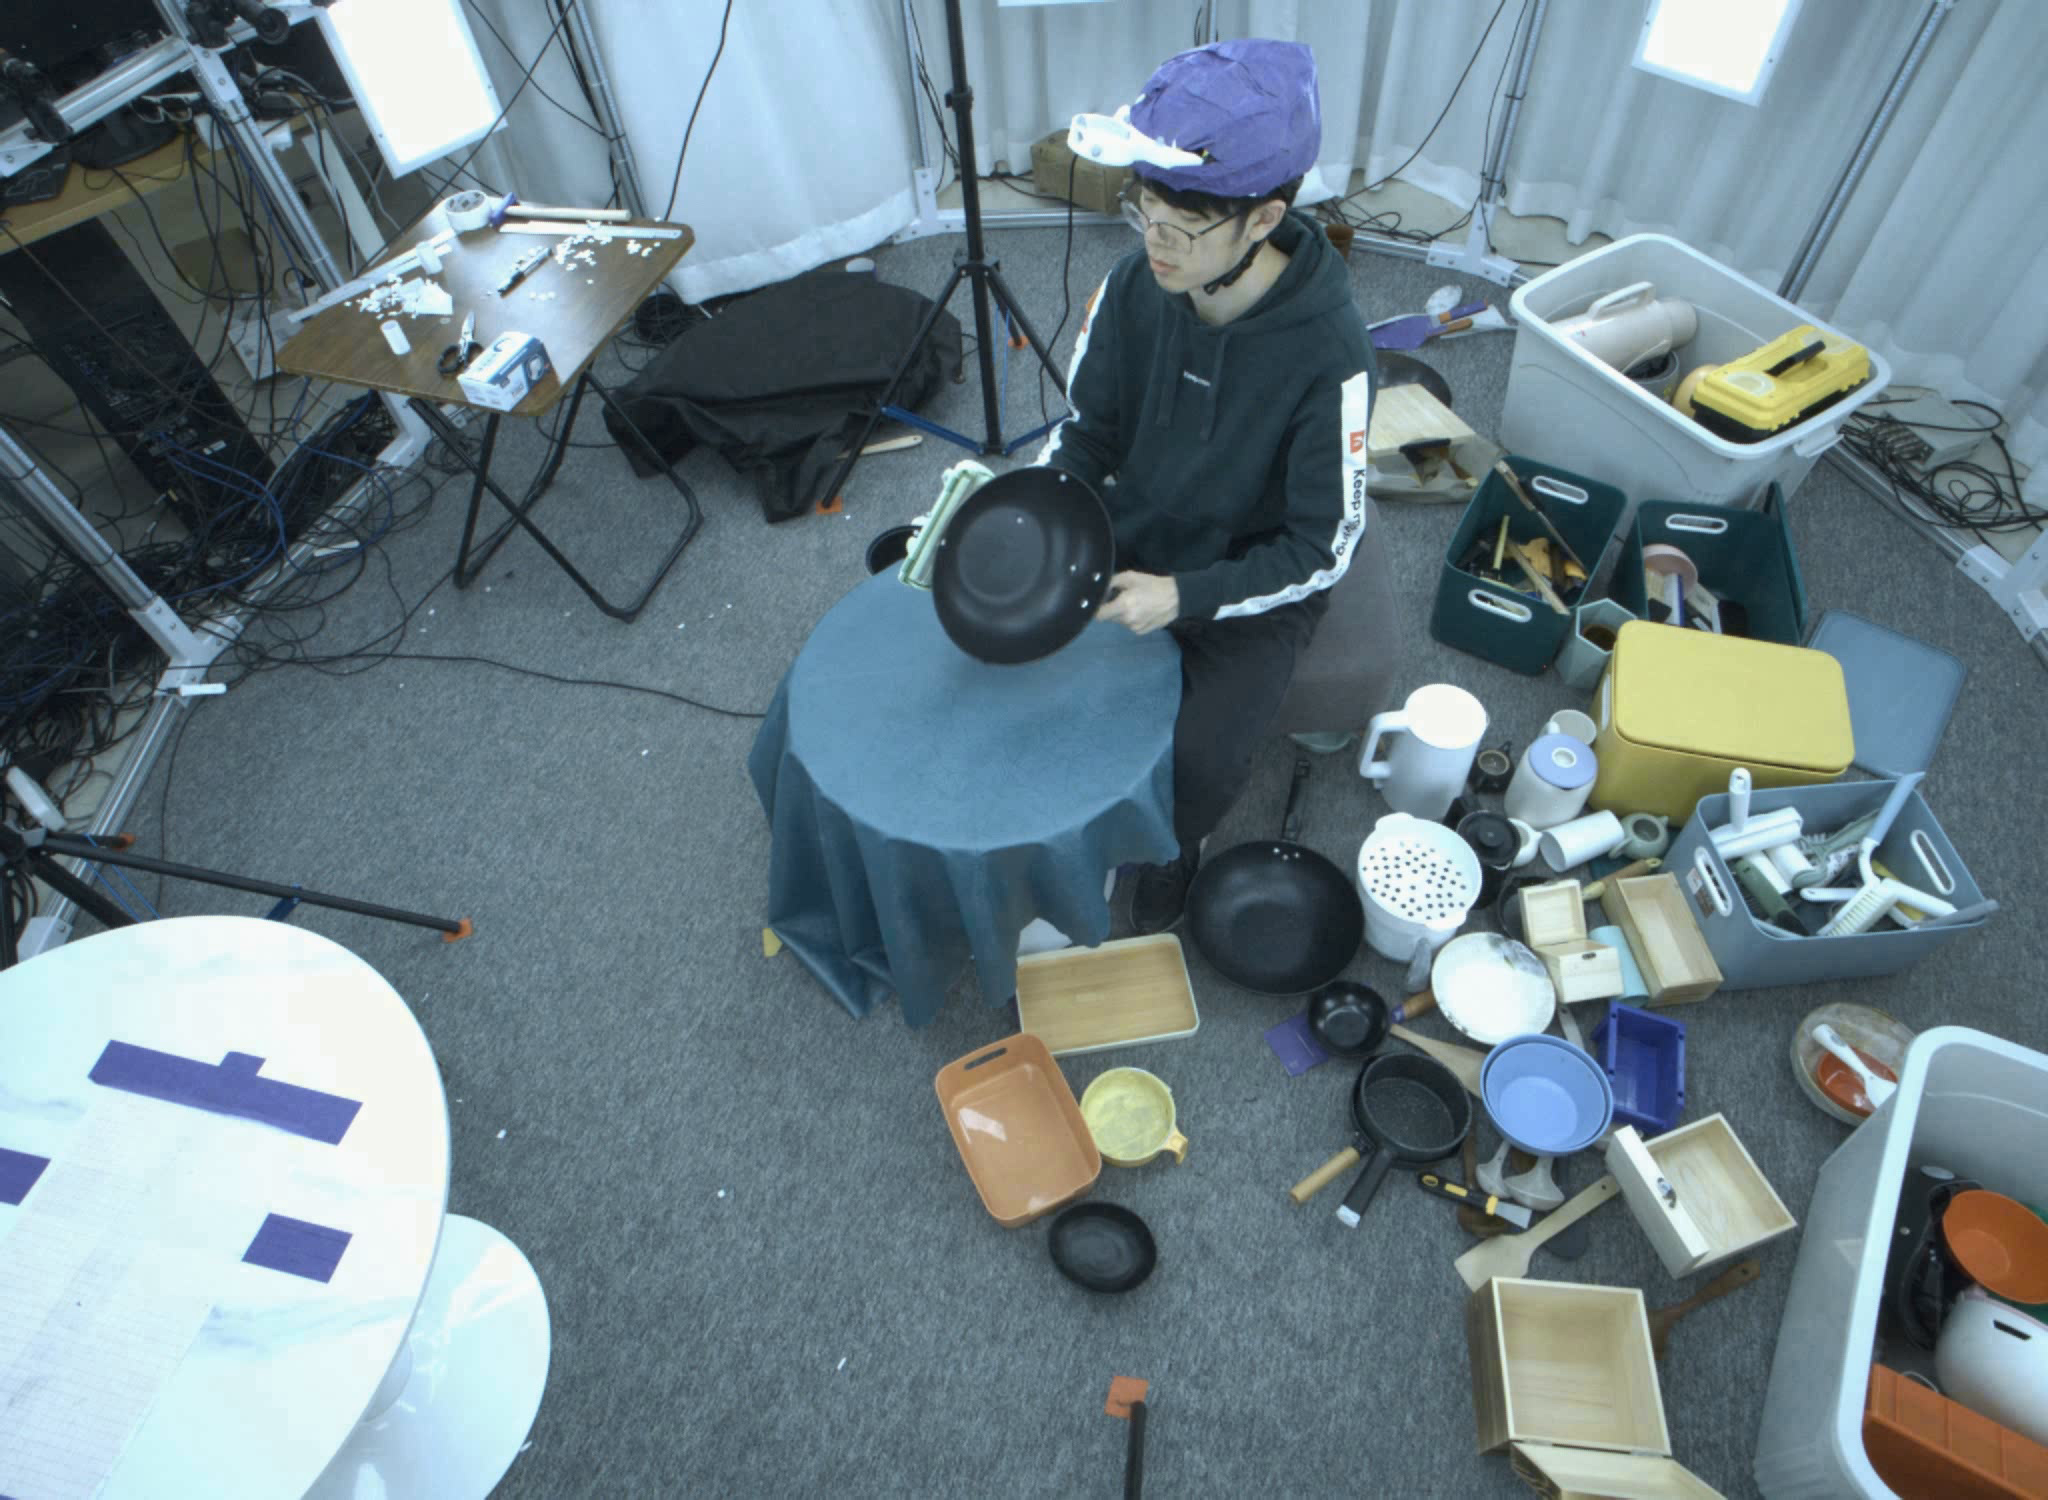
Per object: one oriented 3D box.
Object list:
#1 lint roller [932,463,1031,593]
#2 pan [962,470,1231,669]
[{"bbox_3d":[-0.042,-0.327,1.750,0.081,0.198,0.185,40,29,11],"label":"lint roller"},{"bbox_3d":[0.106,-0.236,1.737,0.474,0.288,0.085,14,19,-34],"label":"pan"}]
